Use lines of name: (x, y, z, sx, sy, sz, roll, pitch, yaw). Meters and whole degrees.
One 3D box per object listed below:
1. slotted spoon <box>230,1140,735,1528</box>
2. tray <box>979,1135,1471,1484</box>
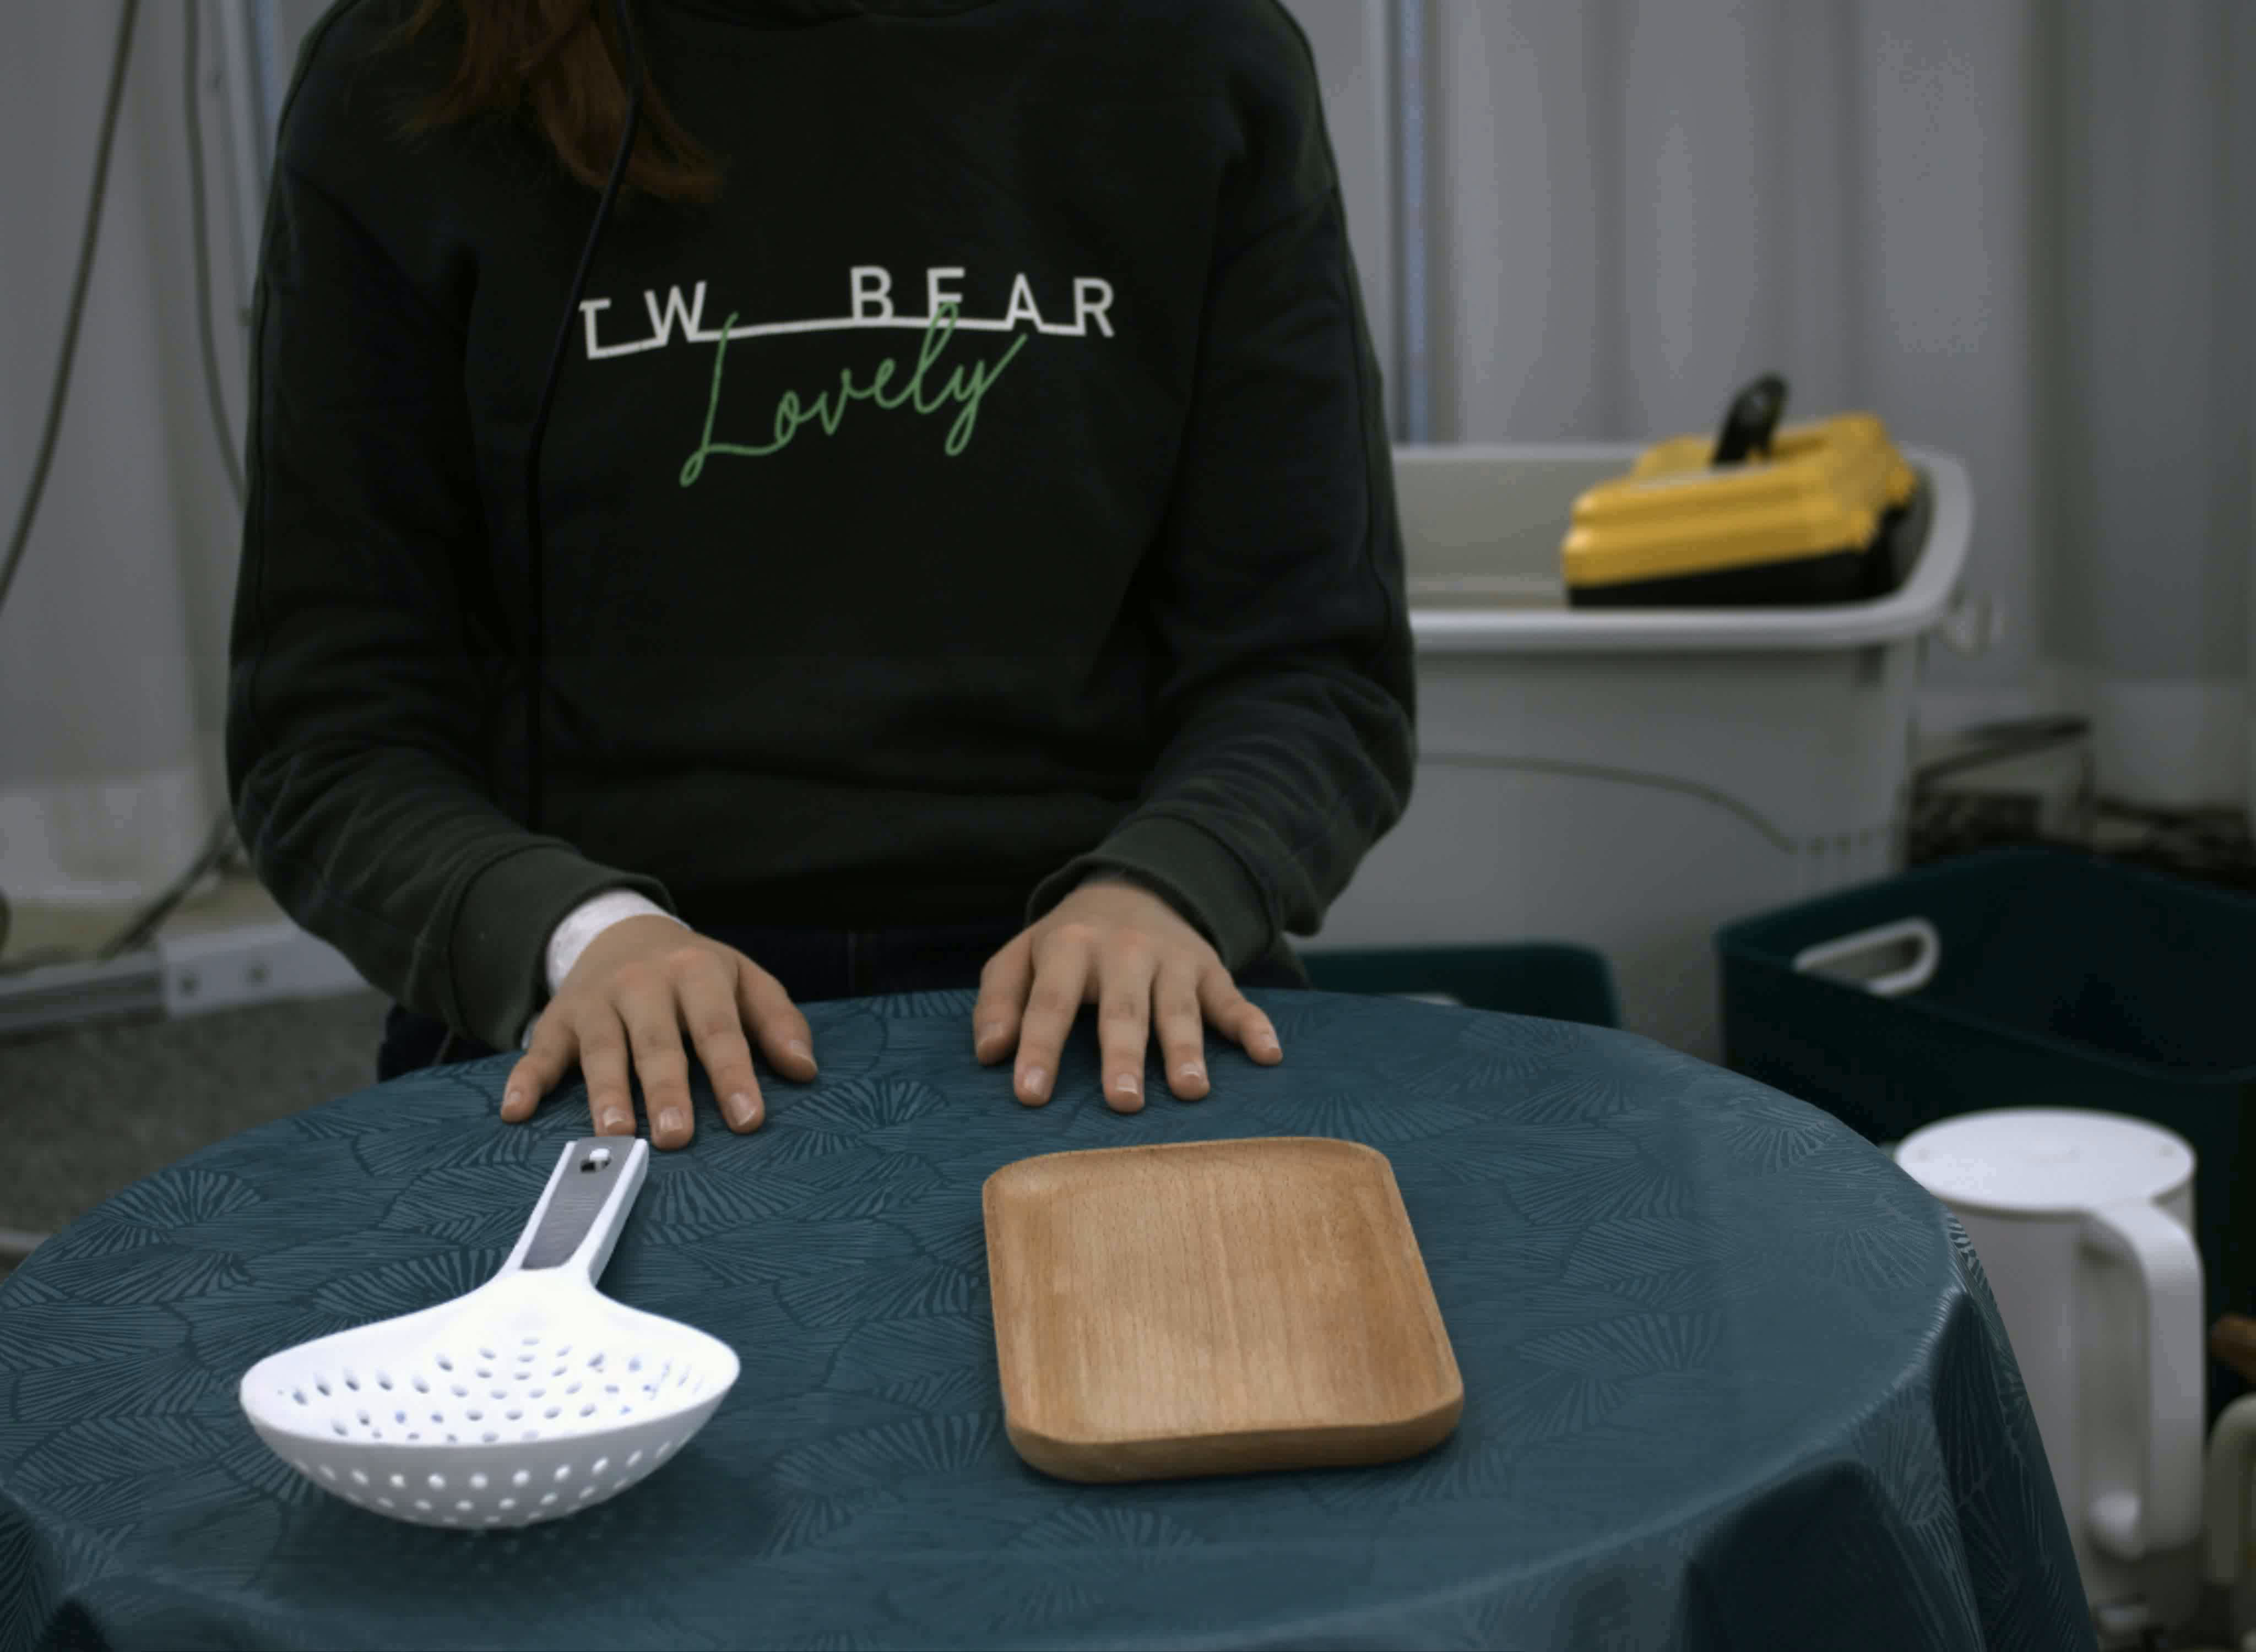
slotted spoon: (-0.170, 0.137, 1.576, 0.135, 0.045, 0.352, 0, 14, 2)
tray: (0.024, 0.138, 1.591, 0.130, 0.023, 0.252, -2, 14, -3)
